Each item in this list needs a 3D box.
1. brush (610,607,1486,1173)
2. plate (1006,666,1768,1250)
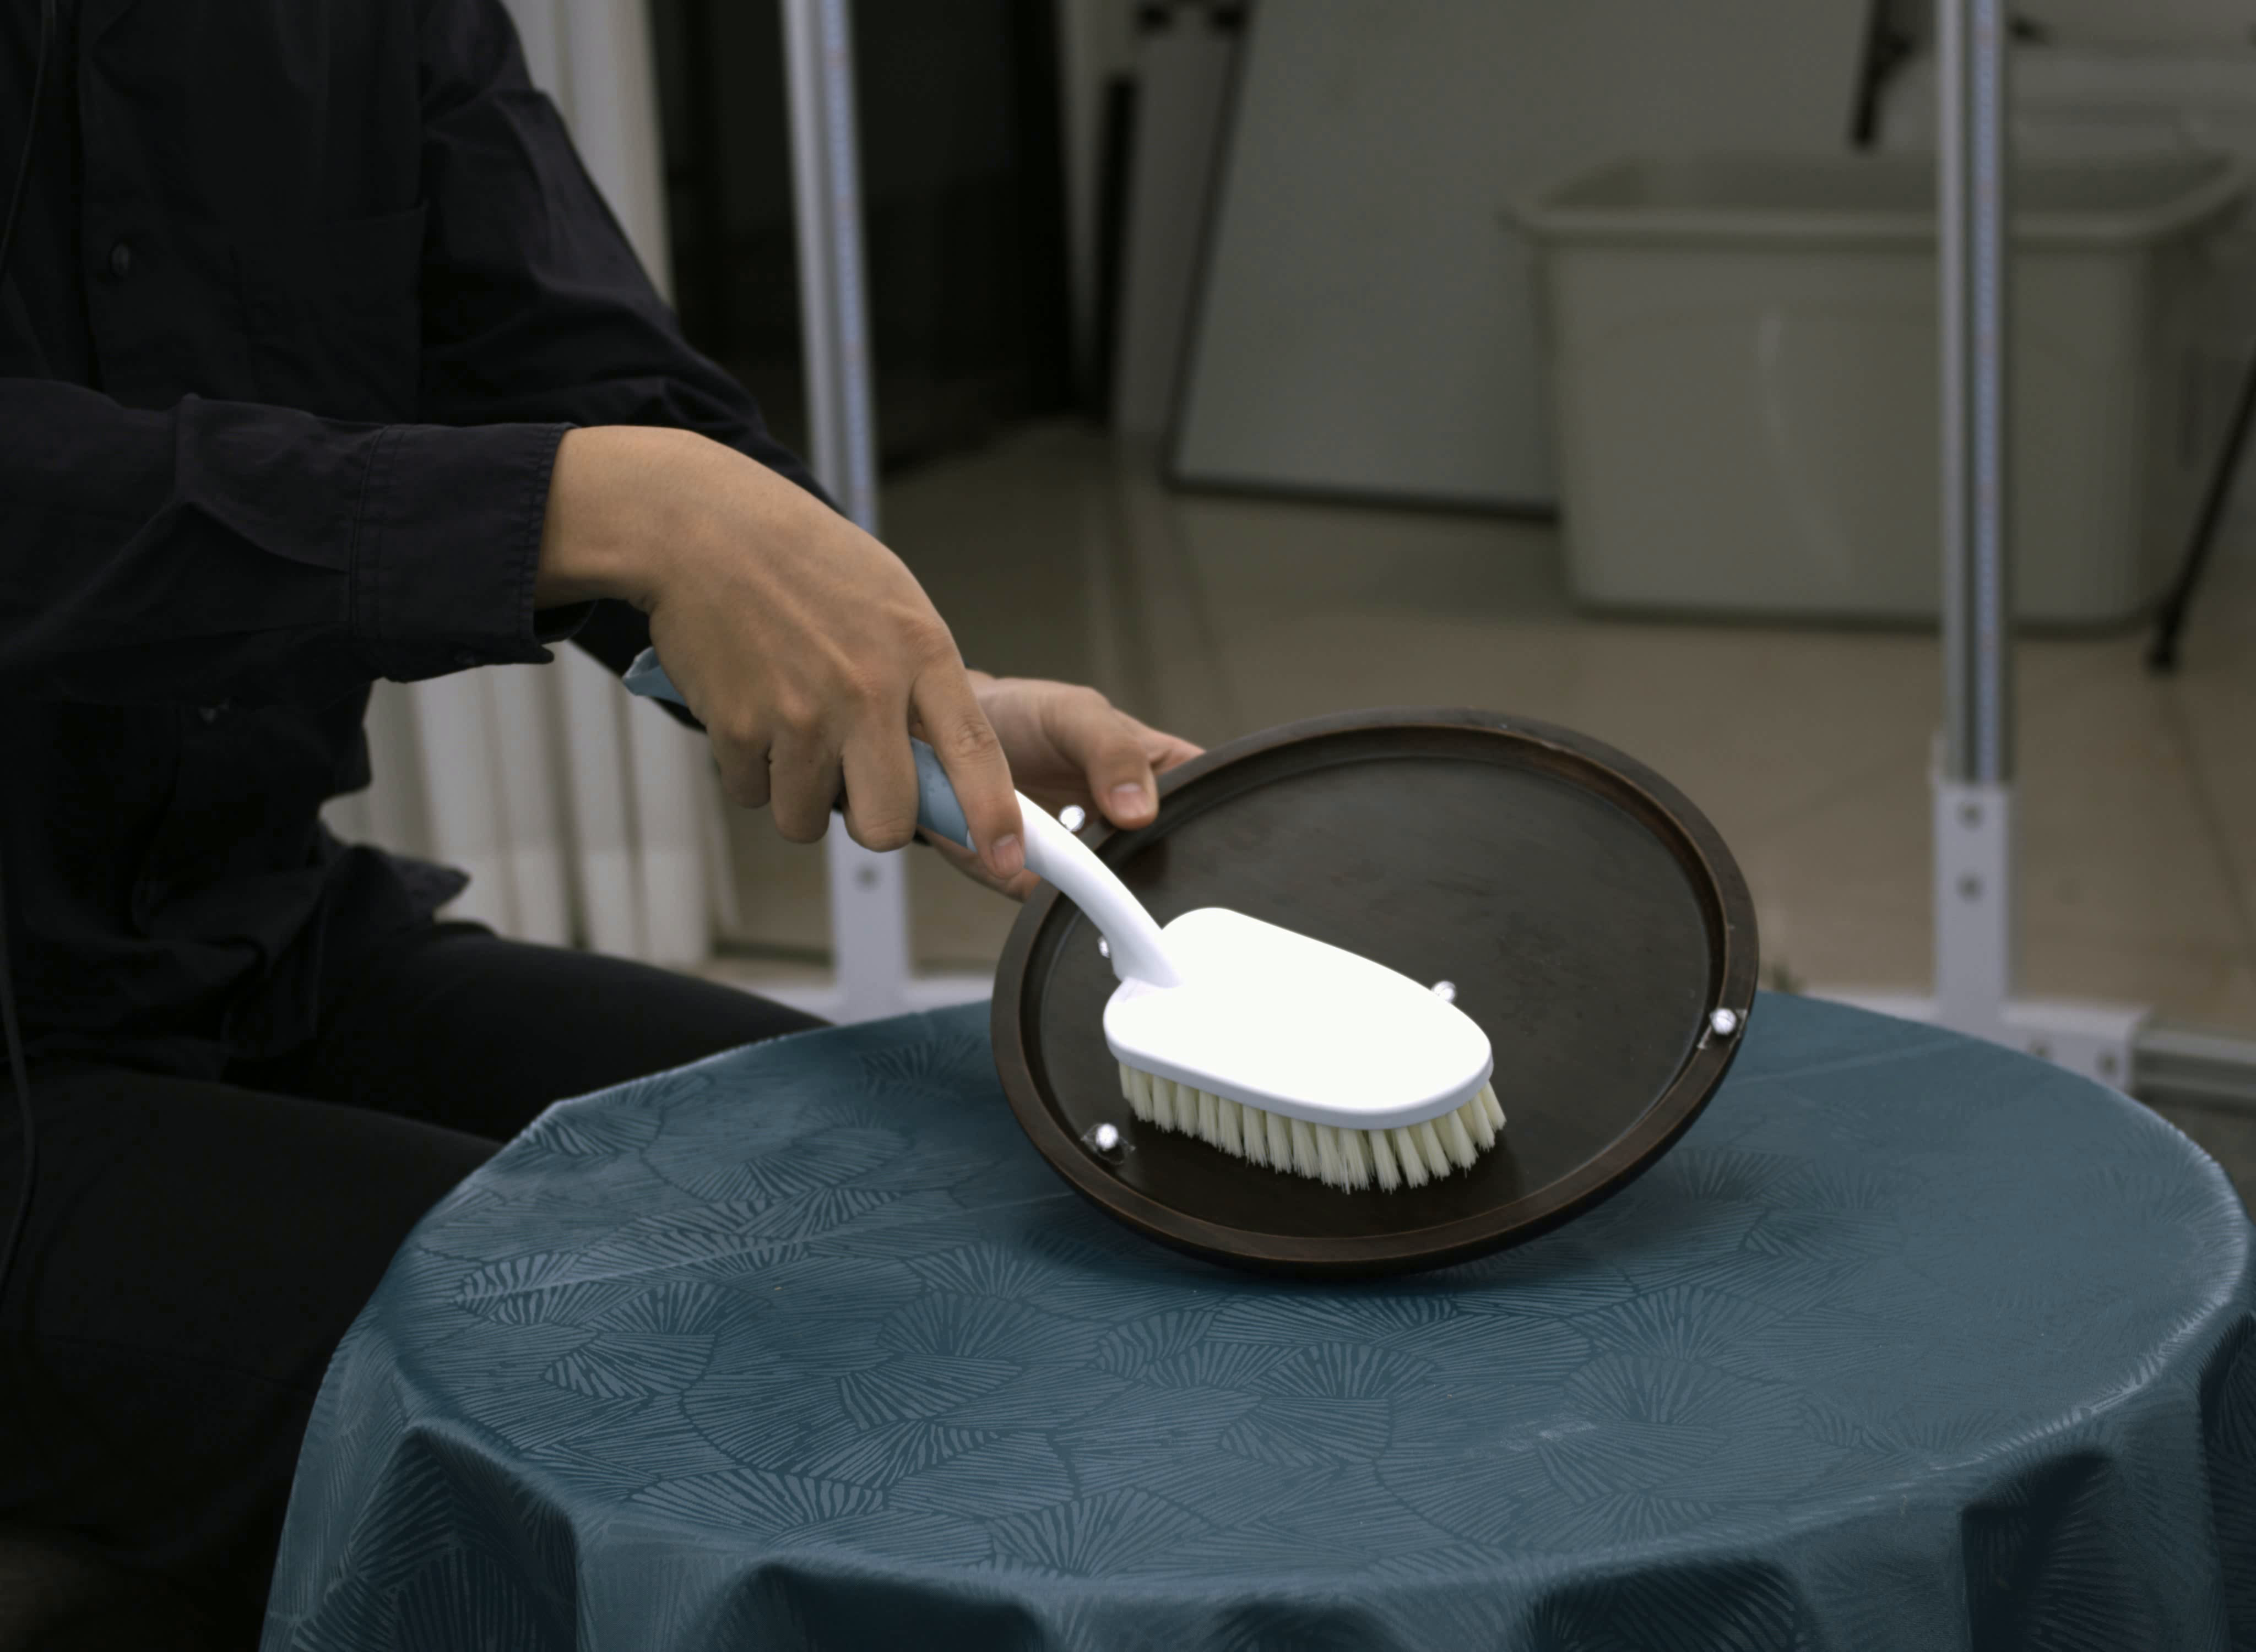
[{"bbox_3d":[-0.028,0.025,1.740,0.326,0.085,0.082,27,16,18],"label":"brush"},{"bbox_3d":[0.084,0.042,1.758,0.252,0.029,0.257,-8,44,7],"label":"plate"}]
